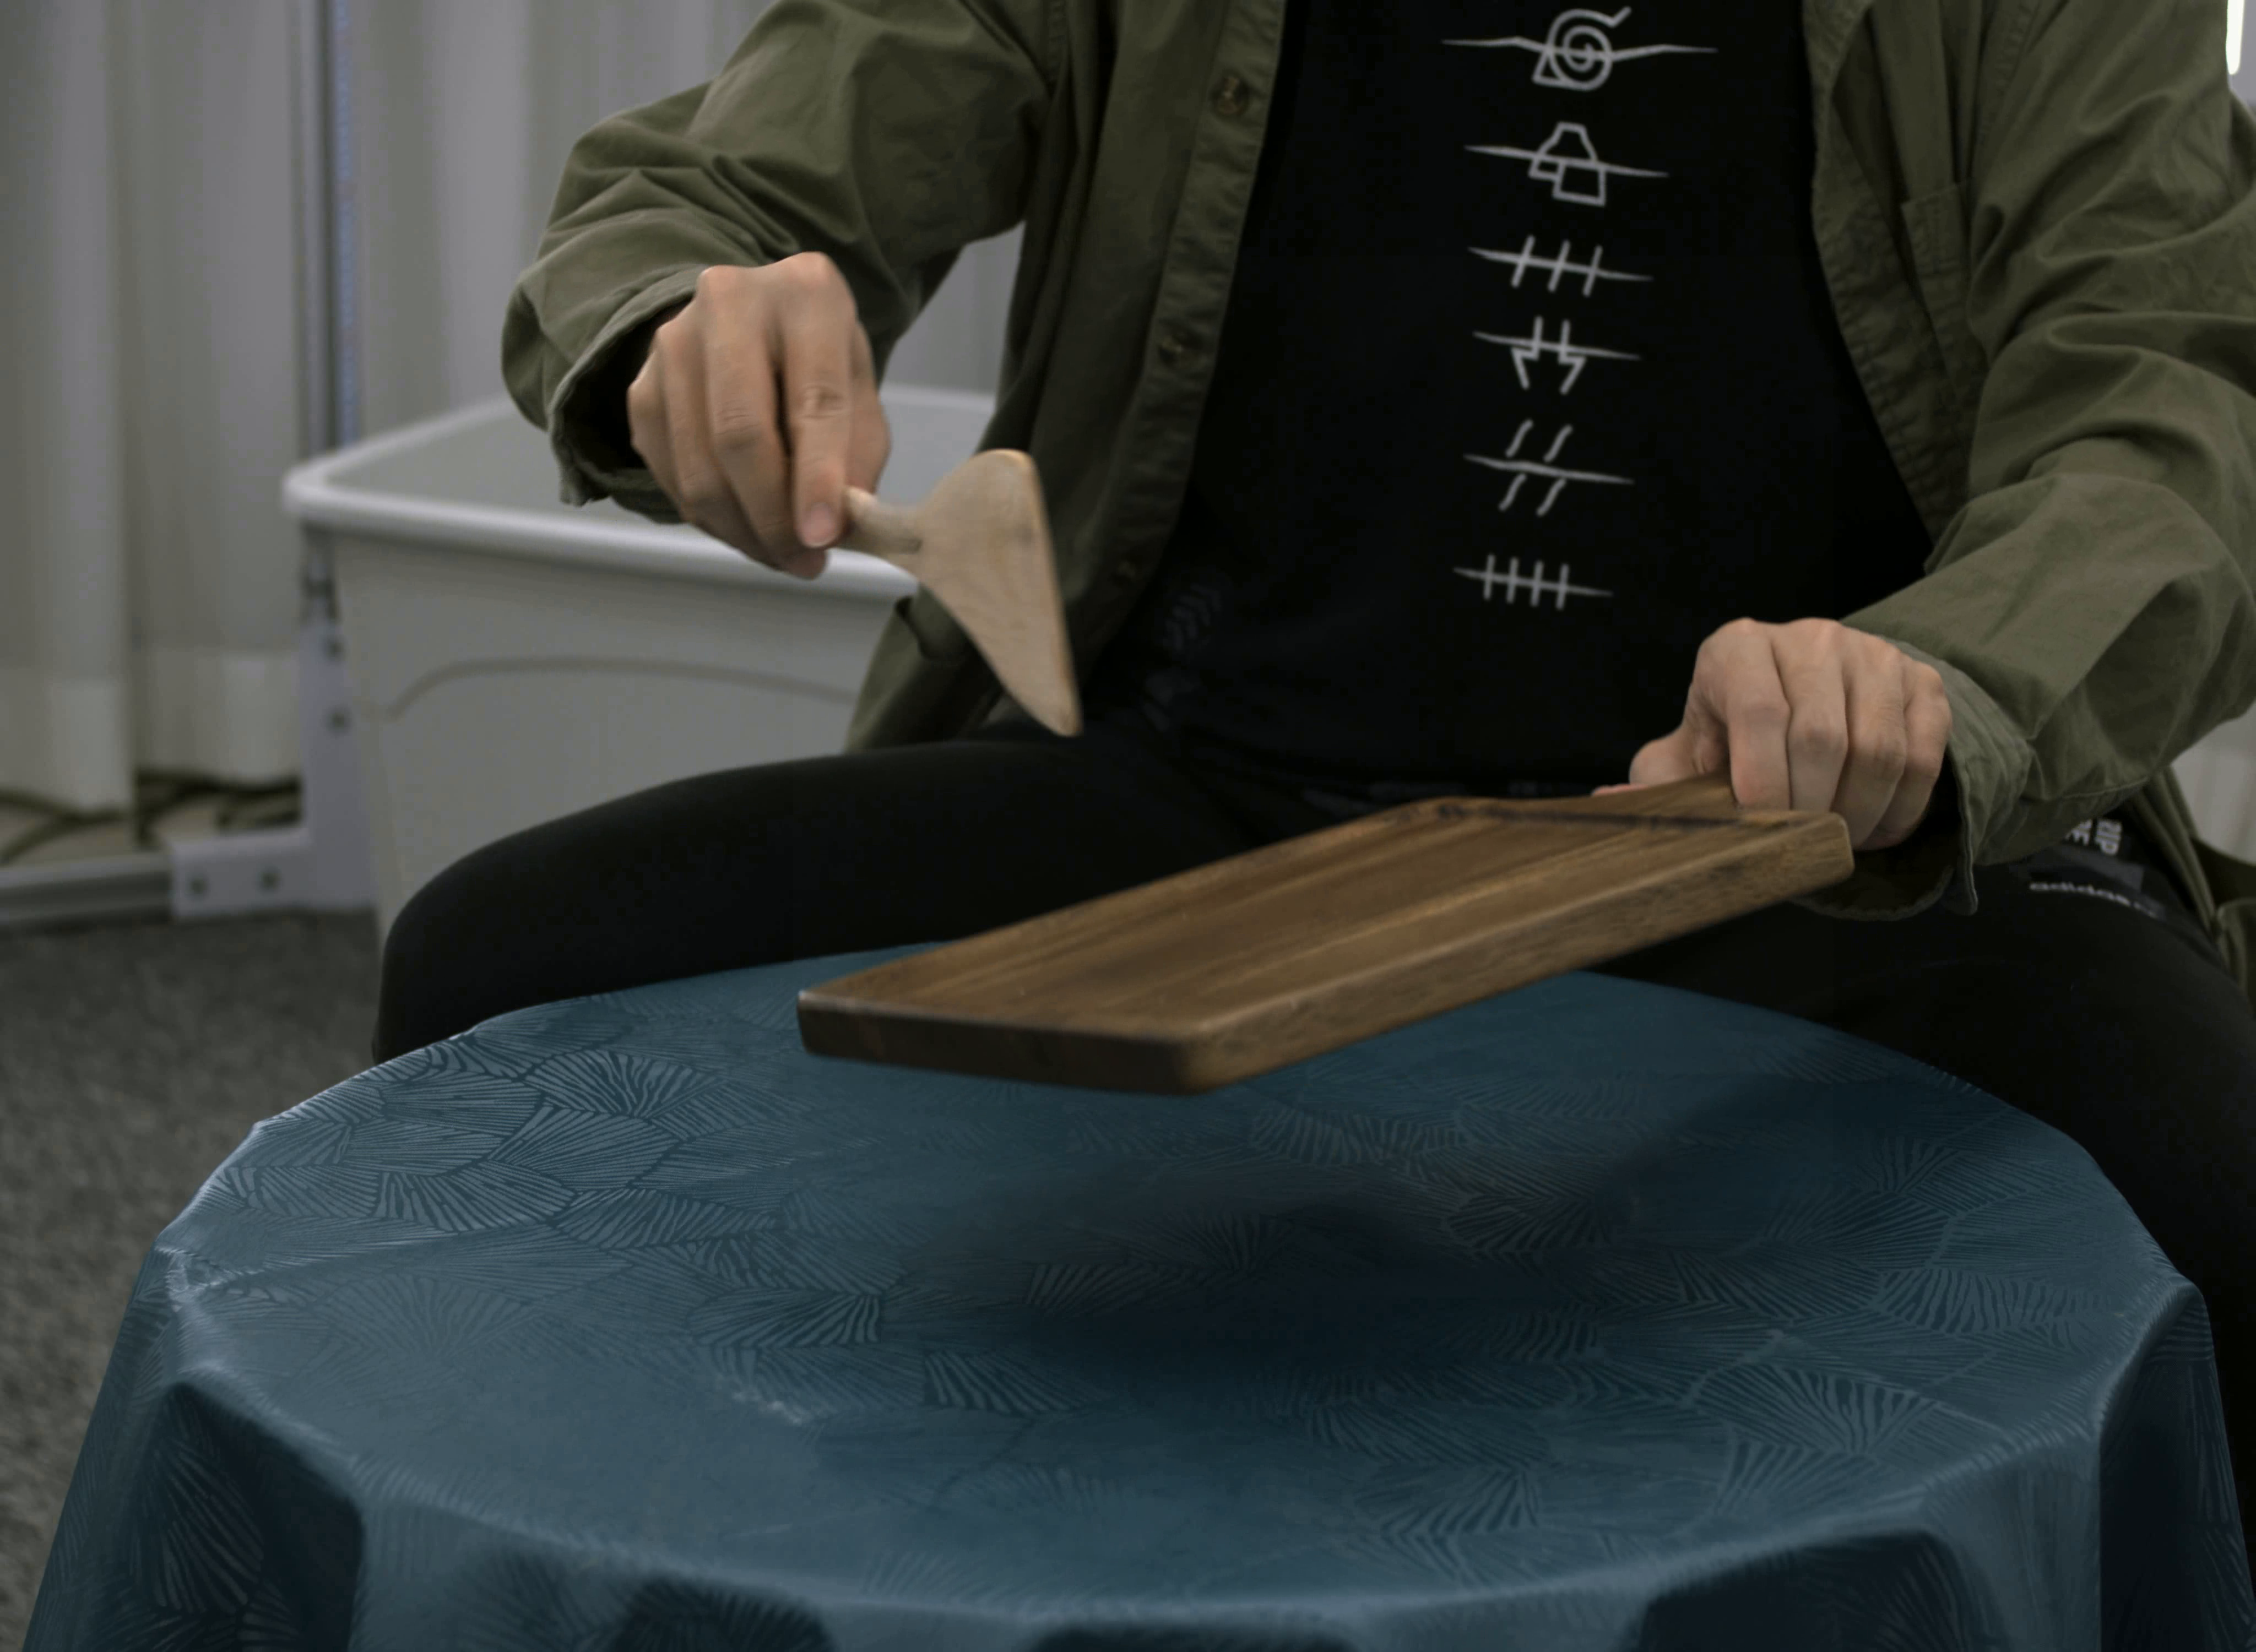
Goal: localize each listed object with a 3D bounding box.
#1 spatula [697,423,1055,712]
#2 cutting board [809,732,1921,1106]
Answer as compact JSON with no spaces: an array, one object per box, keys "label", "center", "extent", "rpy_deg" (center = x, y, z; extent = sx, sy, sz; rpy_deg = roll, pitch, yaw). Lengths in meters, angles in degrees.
[{"label":"spatula","center":[-0.081,-0.093,1.585],"extent":[0.016,0.080,0.324],"rpy_deg":[-13,14,-21]},{"label":"cutting board","center":[0.100,0.022,1.541],"extent":[0.353,0.023,0.199],"rpy_deg":[-16,10,-33]}]
